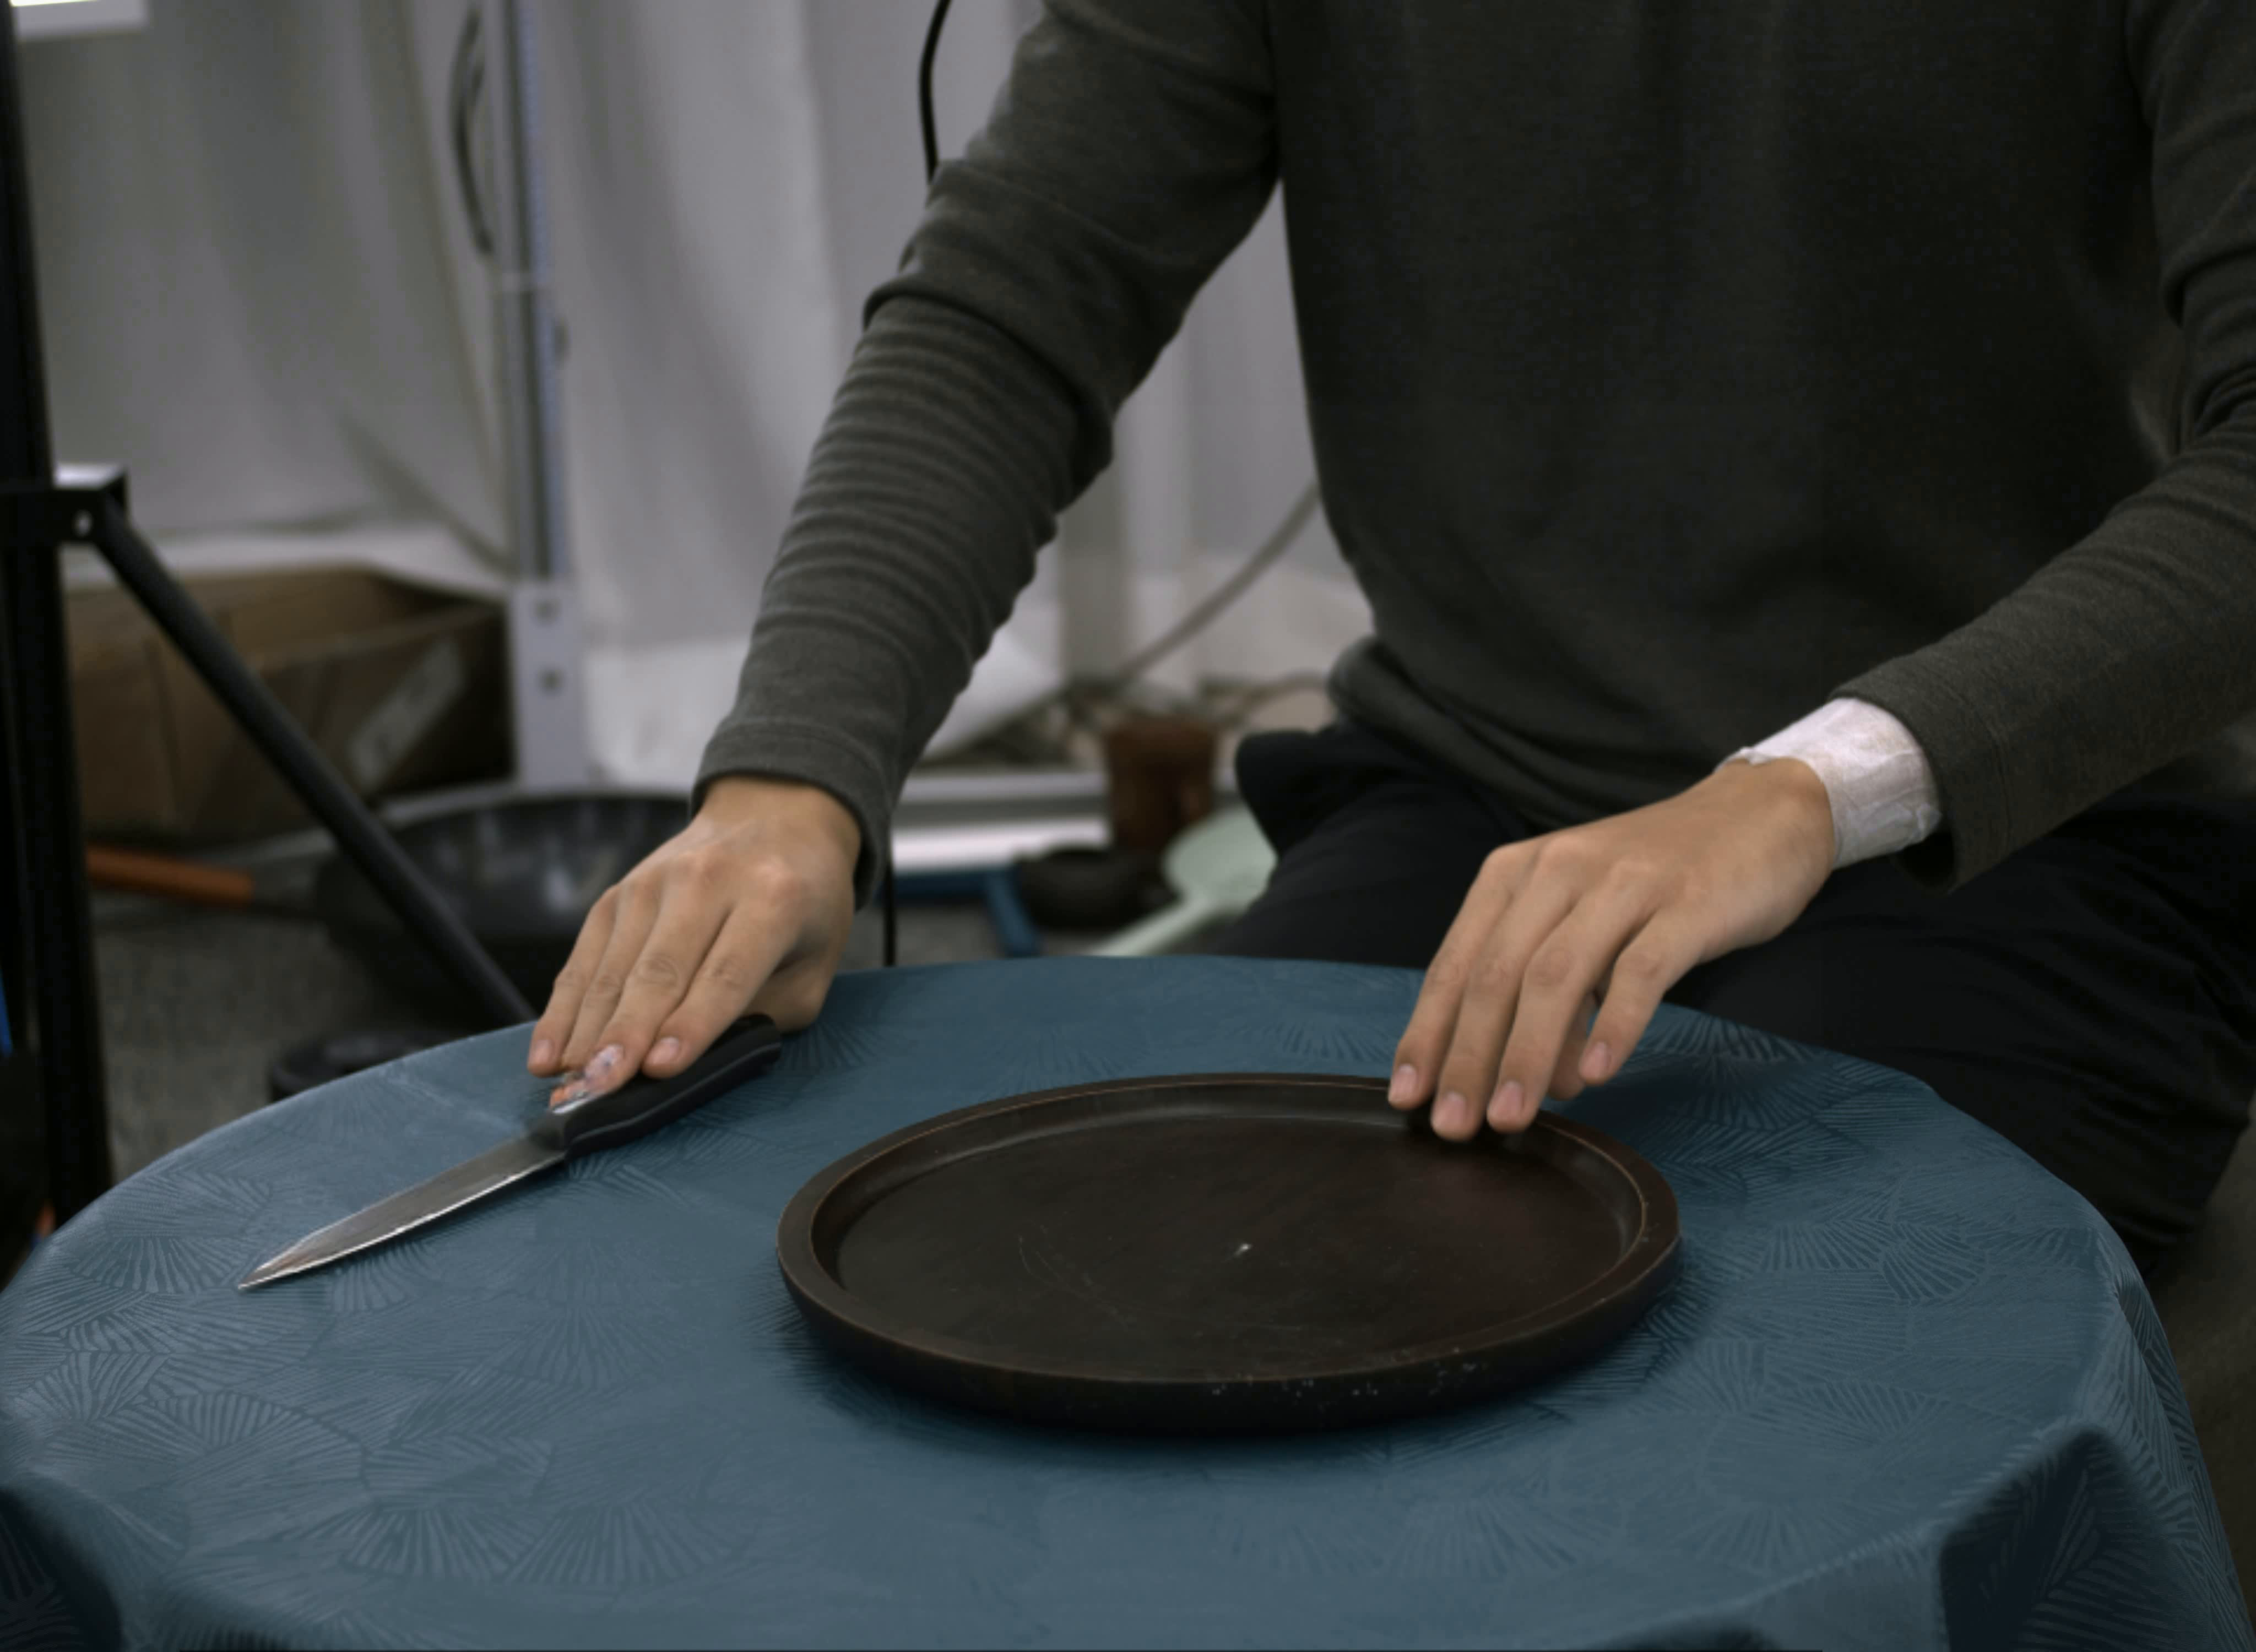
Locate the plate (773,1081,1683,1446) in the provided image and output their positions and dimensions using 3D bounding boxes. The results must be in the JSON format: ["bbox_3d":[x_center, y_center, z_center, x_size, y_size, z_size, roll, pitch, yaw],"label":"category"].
[{"bbox_3d":[0.028,0.118,1.479,0.253,0.029,0.256,-3,17,-1],"label":"plate"}]

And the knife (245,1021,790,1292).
[{"bbox_3d":[-0.182,0.099,1.600,0.025,0.016,0.233,13,24,34],"label":"knife"}]
